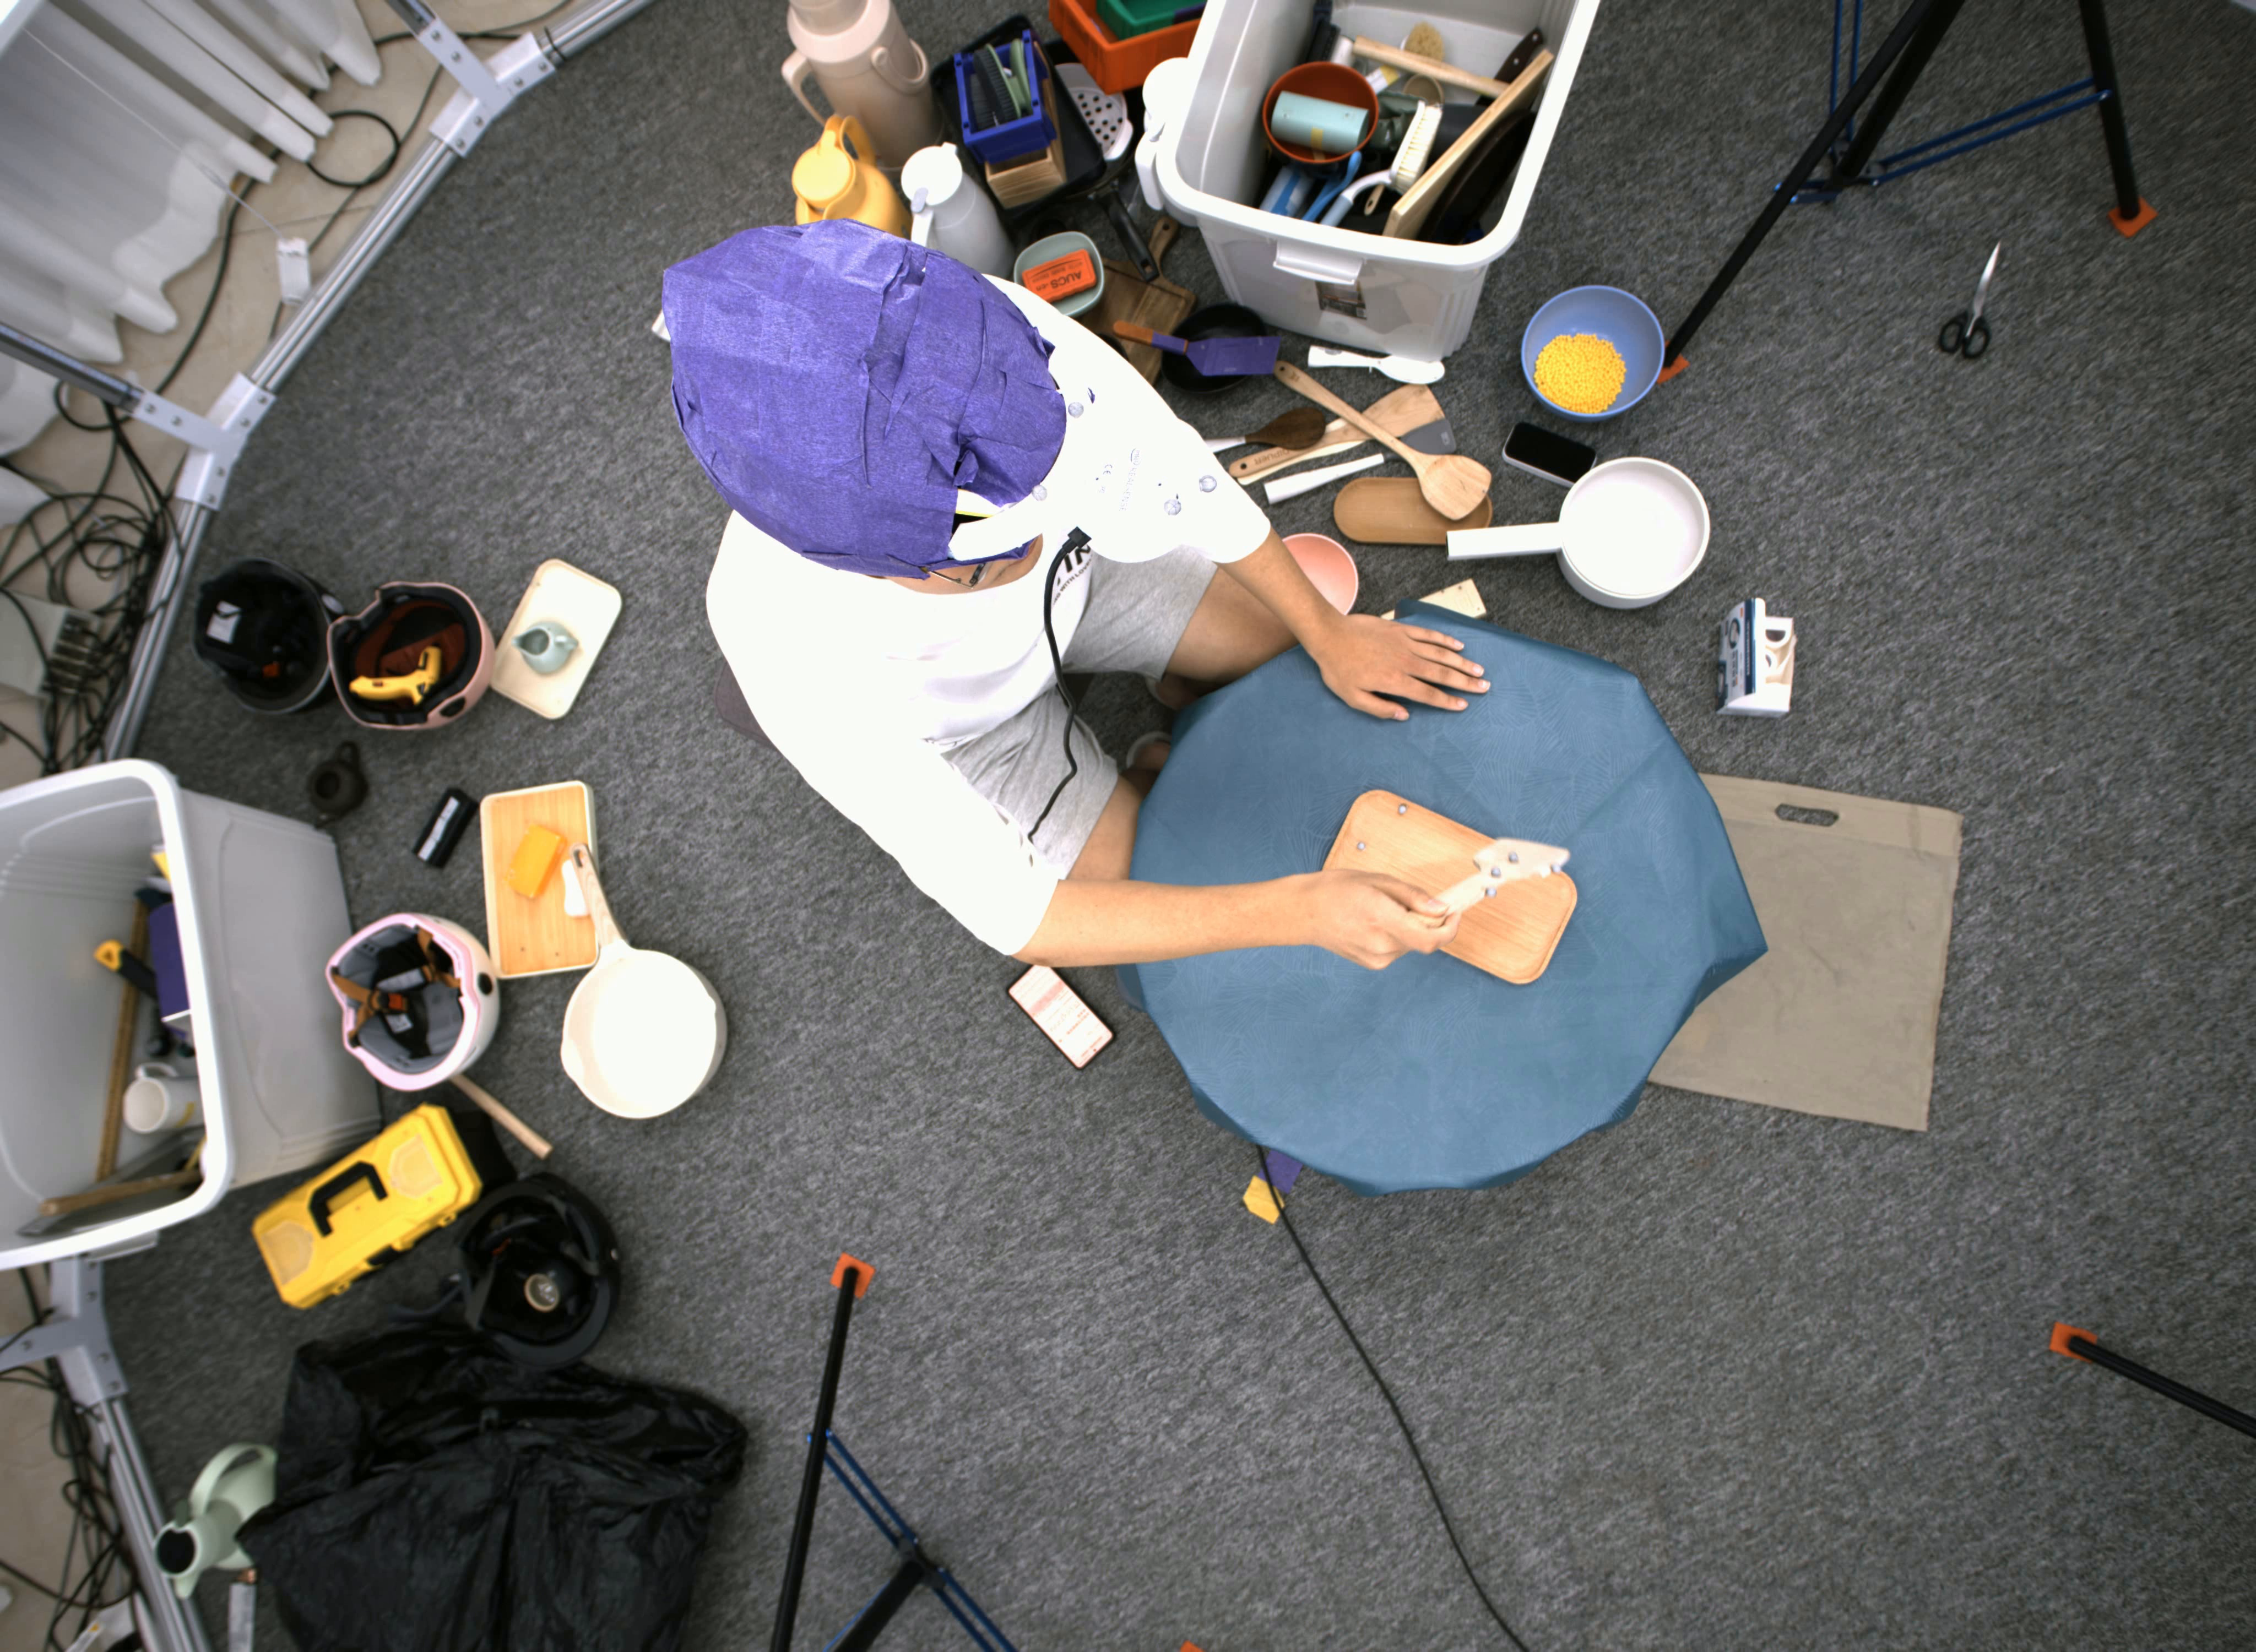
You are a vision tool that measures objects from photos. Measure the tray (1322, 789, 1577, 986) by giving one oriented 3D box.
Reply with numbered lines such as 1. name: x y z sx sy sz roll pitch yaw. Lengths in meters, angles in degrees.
1. tray: 0.334 0.061 1.440 0.250 0.023 0.131 27 94 11

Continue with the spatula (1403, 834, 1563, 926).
1. spatula: 0.305 0.044 1.195 0.072 0.288 0.011 13 109 31
